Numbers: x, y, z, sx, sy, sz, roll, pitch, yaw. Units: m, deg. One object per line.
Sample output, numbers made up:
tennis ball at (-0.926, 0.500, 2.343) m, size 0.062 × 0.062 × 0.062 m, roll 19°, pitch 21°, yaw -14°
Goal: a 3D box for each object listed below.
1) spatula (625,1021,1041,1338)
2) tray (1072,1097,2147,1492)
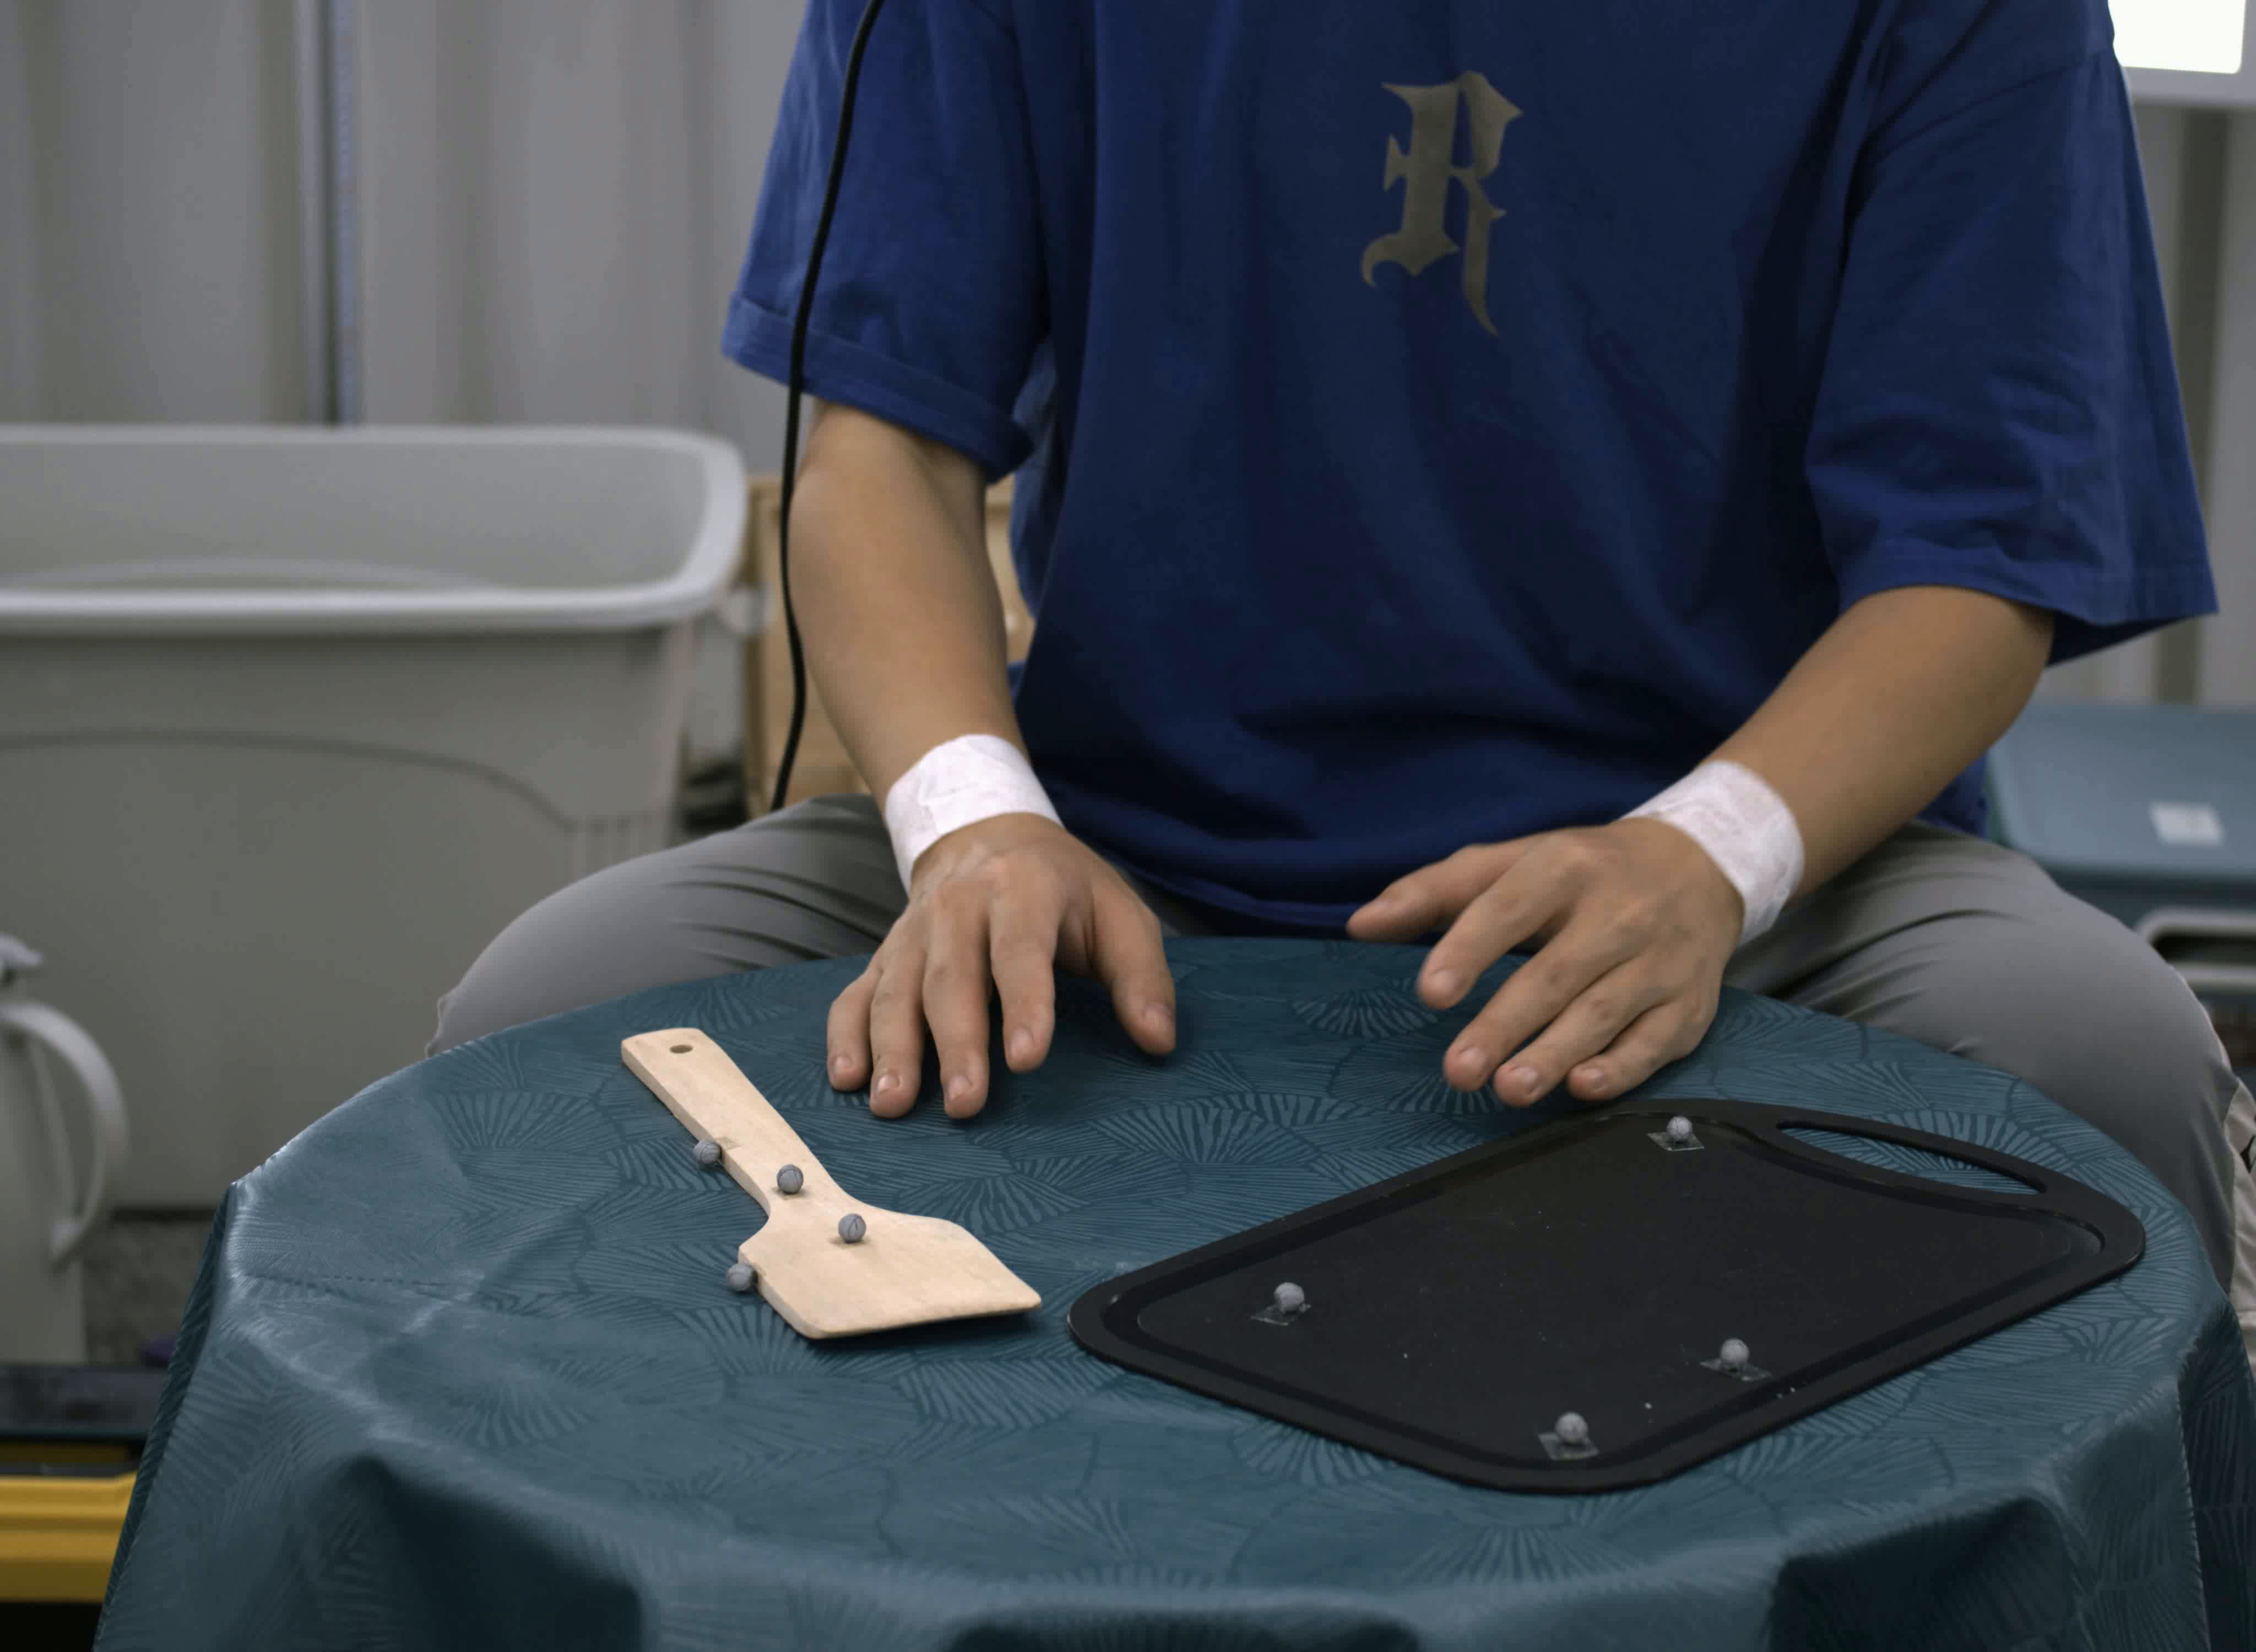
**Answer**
spatula at (-0.107, 0.106, 1.624) m, size 0.072 × 0.011 × 0.290 m, roll -6°, pitch 17°, yaw -20°
tray at (0.150, 0.129, 1.555) m, size 0.208 × 0.010 × 0.327 m, roll 15°, pitch 21°, yaw 41°
